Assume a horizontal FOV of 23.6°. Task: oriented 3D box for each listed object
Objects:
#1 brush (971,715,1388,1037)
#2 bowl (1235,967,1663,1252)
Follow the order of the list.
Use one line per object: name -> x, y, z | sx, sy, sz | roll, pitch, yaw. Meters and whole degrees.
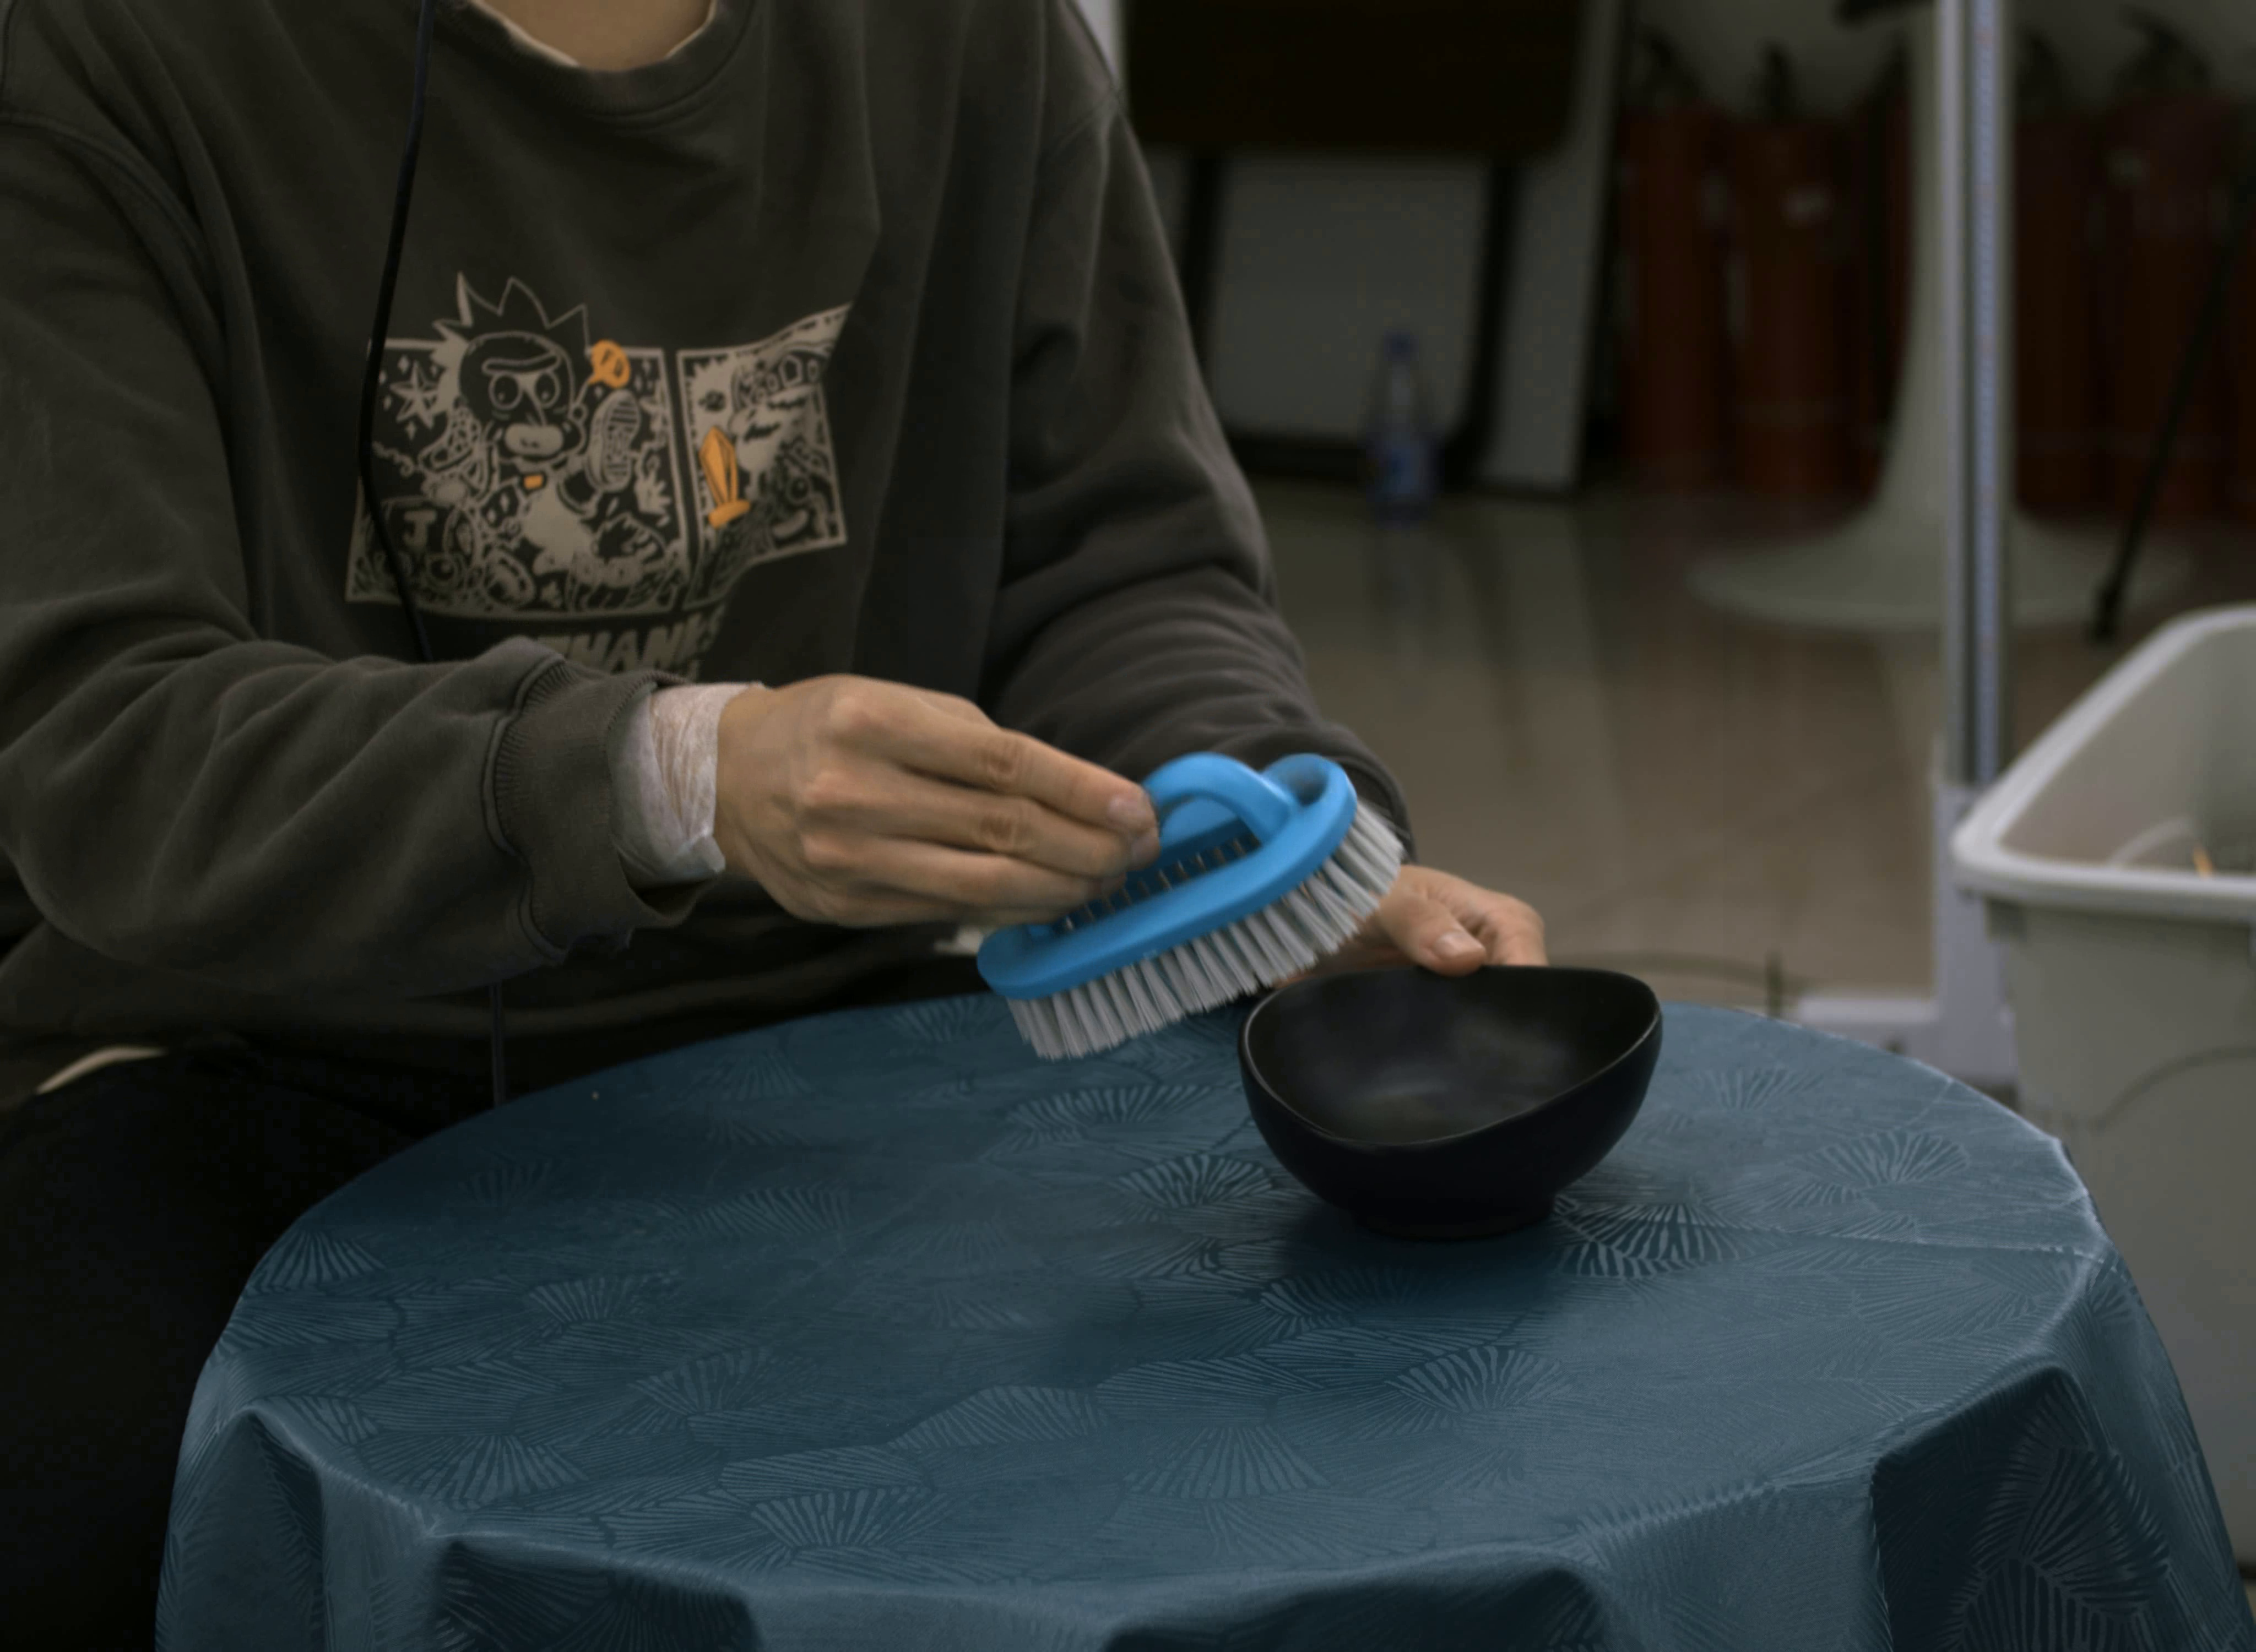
brush -> 0.007, 0.007, 1.663 | 0.142, 0.063, 0.084 | -23, 29, 30
bowl -> 0.104, 0.095, 1.724 | 0.137, 0.067, 0.169 | -1, 15, 16
